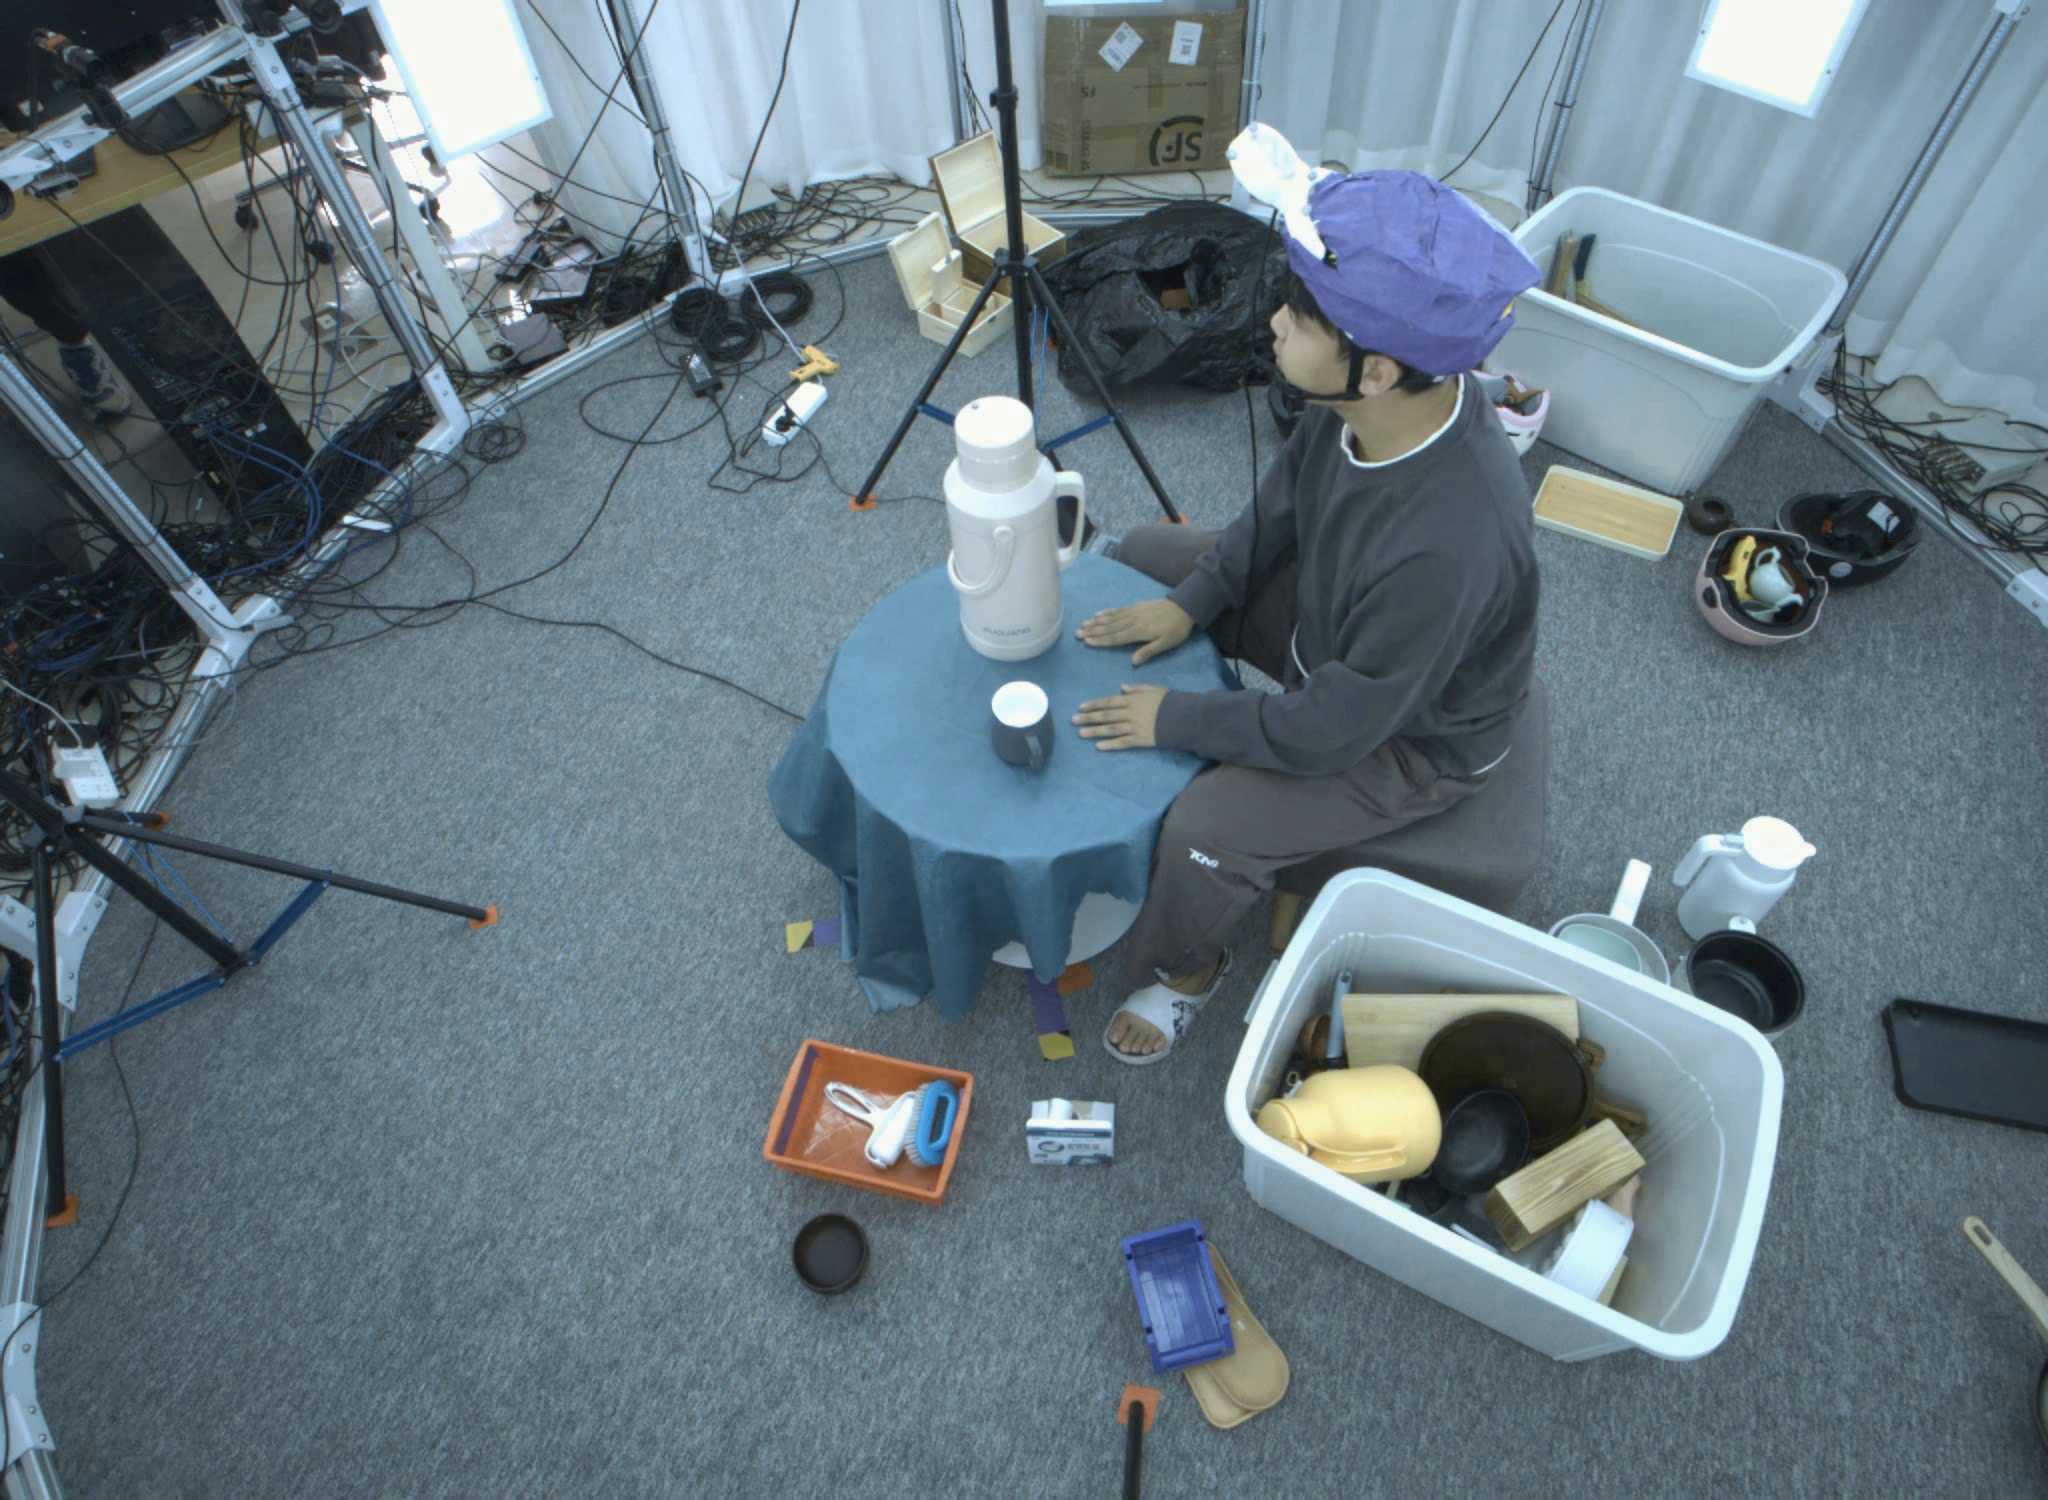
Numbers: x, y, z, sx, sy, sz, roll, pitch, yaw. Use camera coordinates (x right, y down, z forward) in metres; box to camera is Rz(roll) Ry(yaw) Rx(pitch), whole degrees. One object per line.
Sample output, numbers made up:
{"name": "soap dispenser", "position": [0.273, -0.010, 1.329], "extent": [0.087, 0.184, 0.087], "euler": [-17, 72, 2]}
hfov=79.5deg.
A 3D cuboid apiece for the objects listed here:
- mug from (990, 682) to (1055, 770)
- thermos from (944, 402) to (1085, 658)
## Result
{"name": "mug", "position": [0.000, -0.027, 1.751], "extent": [0.094, 0.091, 0.121], "euler": [-16, 55, -9]}
{"name": "thermos", "position": [-0.015, -0.318, 1.768], "extent": [0.207, 0.411, 0.173], "euler": [-6, 54, 0]}
